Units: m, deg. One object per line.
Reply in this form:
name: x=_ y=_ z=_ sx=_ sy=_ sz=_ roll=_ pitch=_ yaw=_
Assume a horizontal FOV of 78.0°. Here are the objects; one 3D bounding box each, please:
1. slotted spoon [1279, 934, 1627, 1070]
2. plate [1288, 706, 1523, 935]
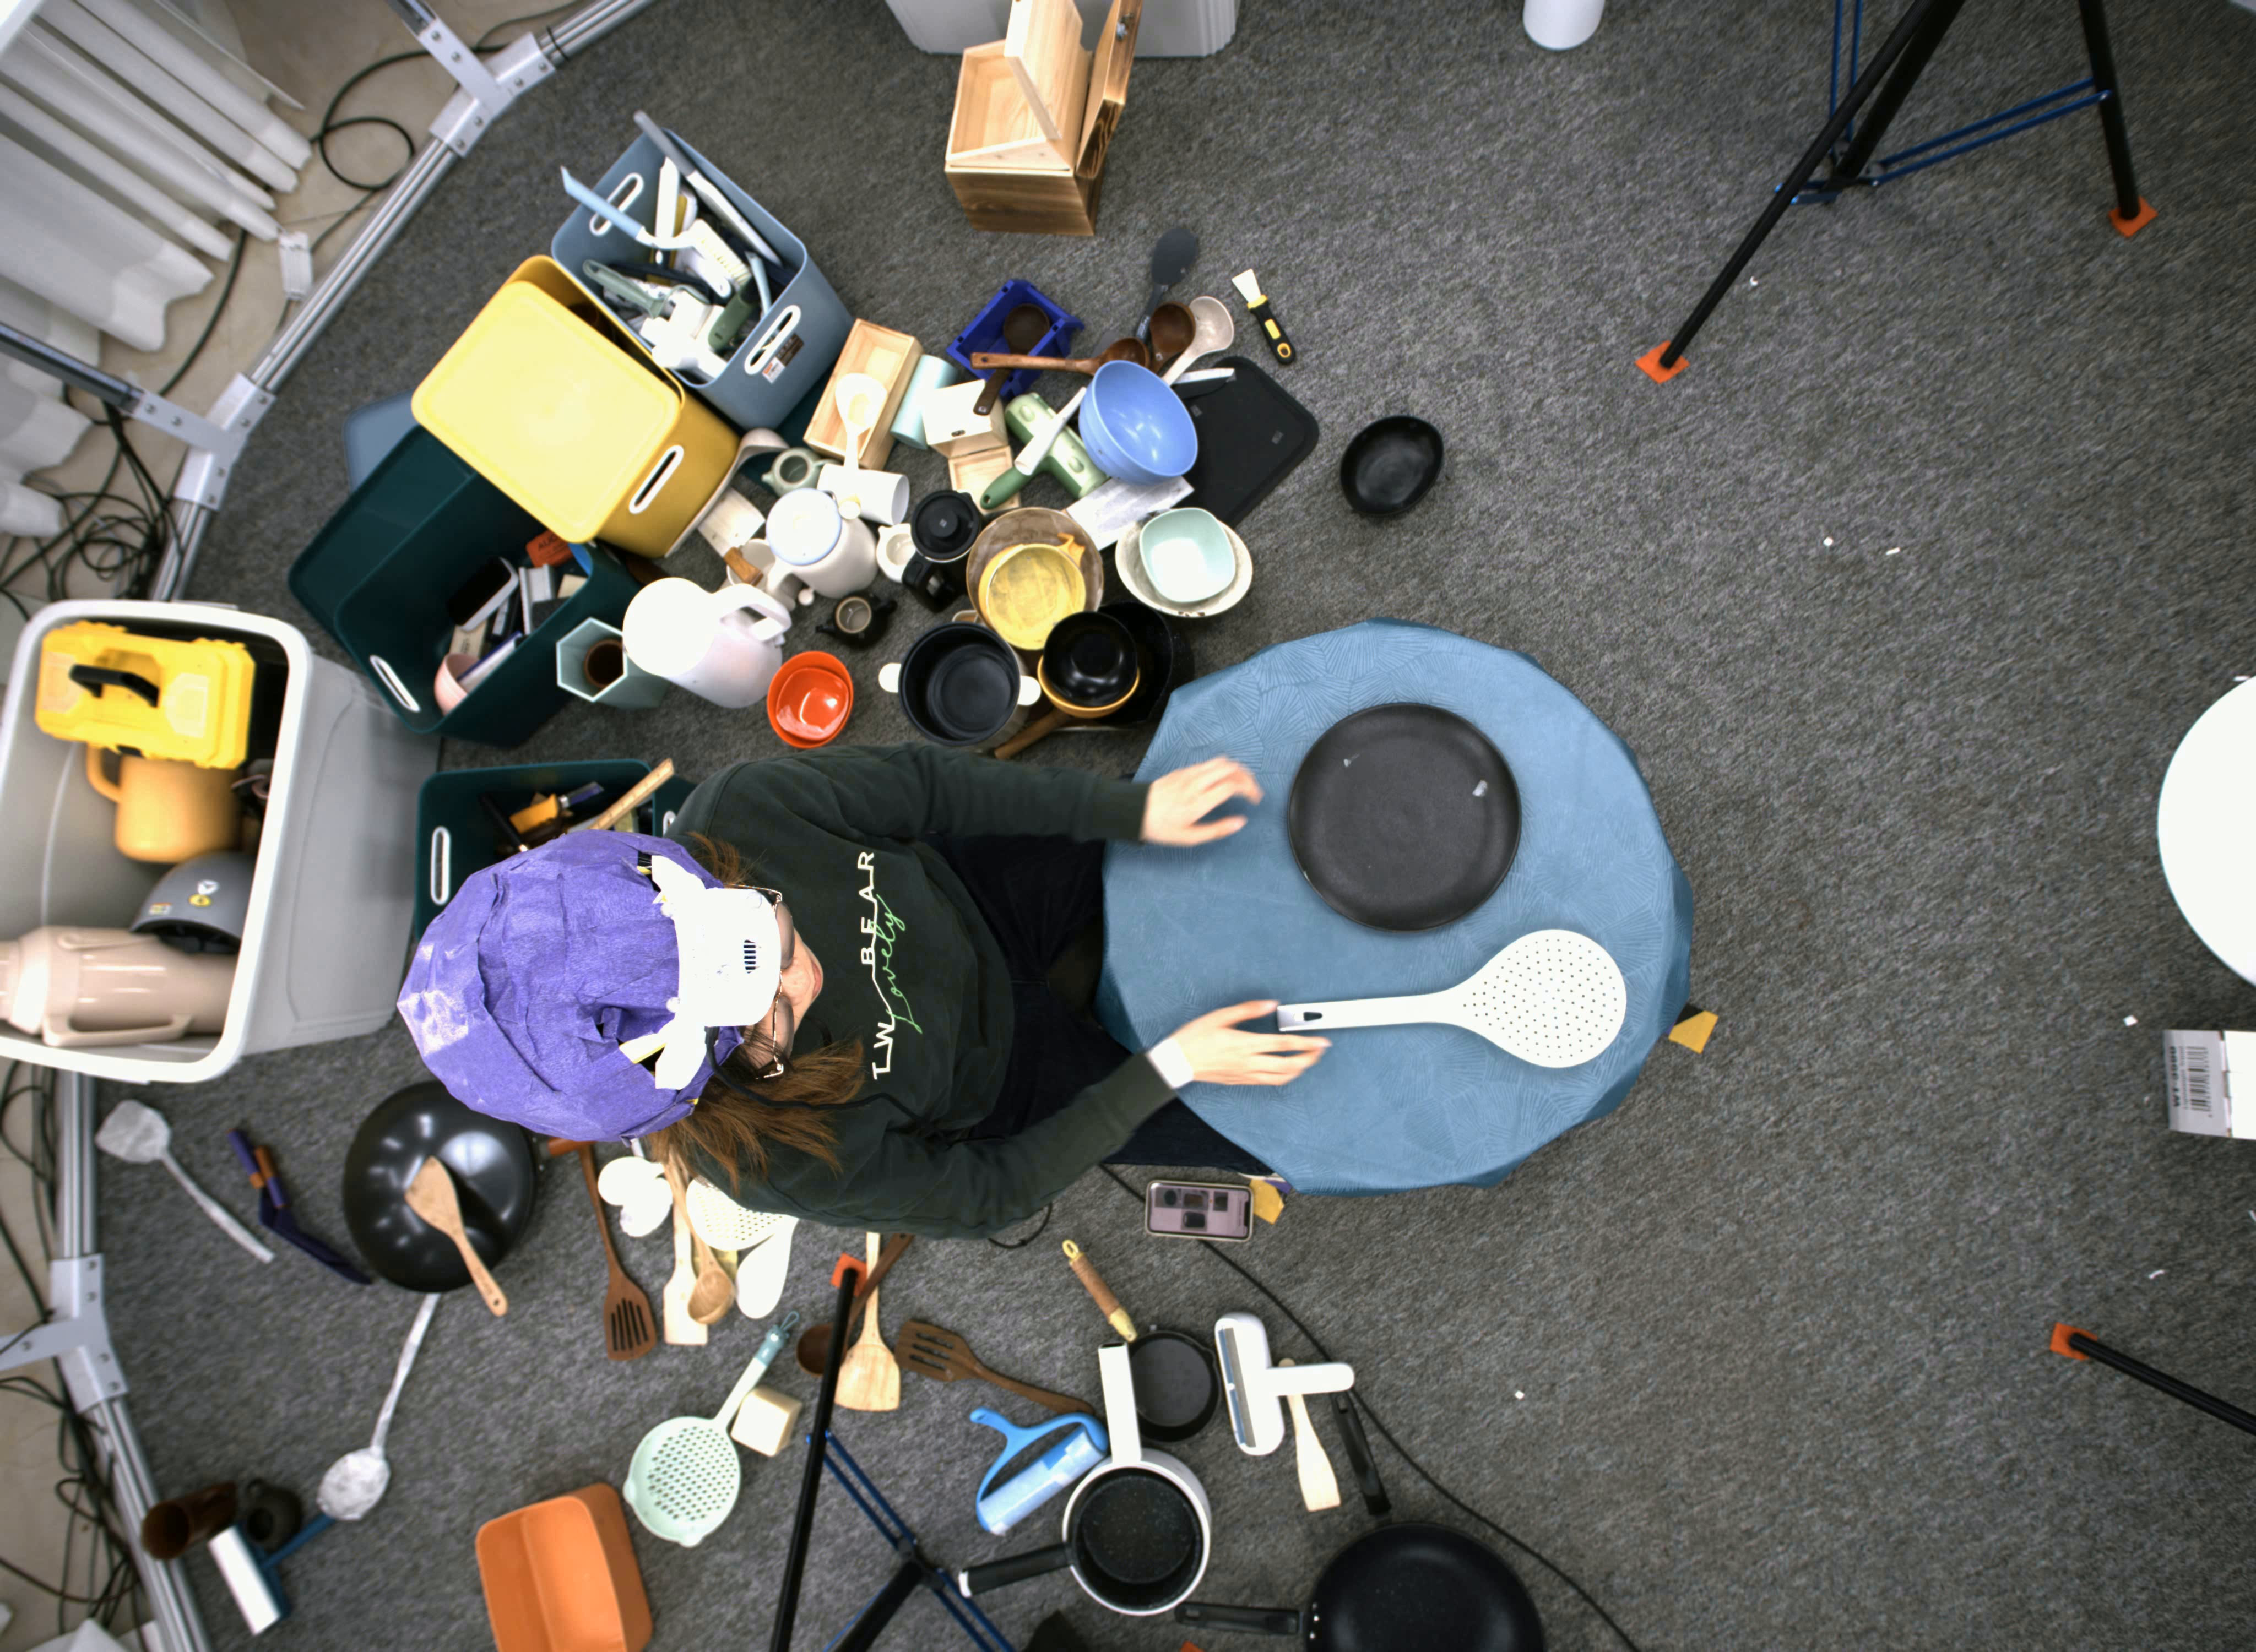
slotted spoon: x=0.330 y=0.187 z=1.423 sx=0.351 sy=0.046 sz=0.135 roll=-5 pitch=82 yaw=11
plate: x=0.291 y=-0.007 z=1.454 sx=0.245 sy=0.023 sz=0.243 roll=-1 pitch=86 yaw=10
